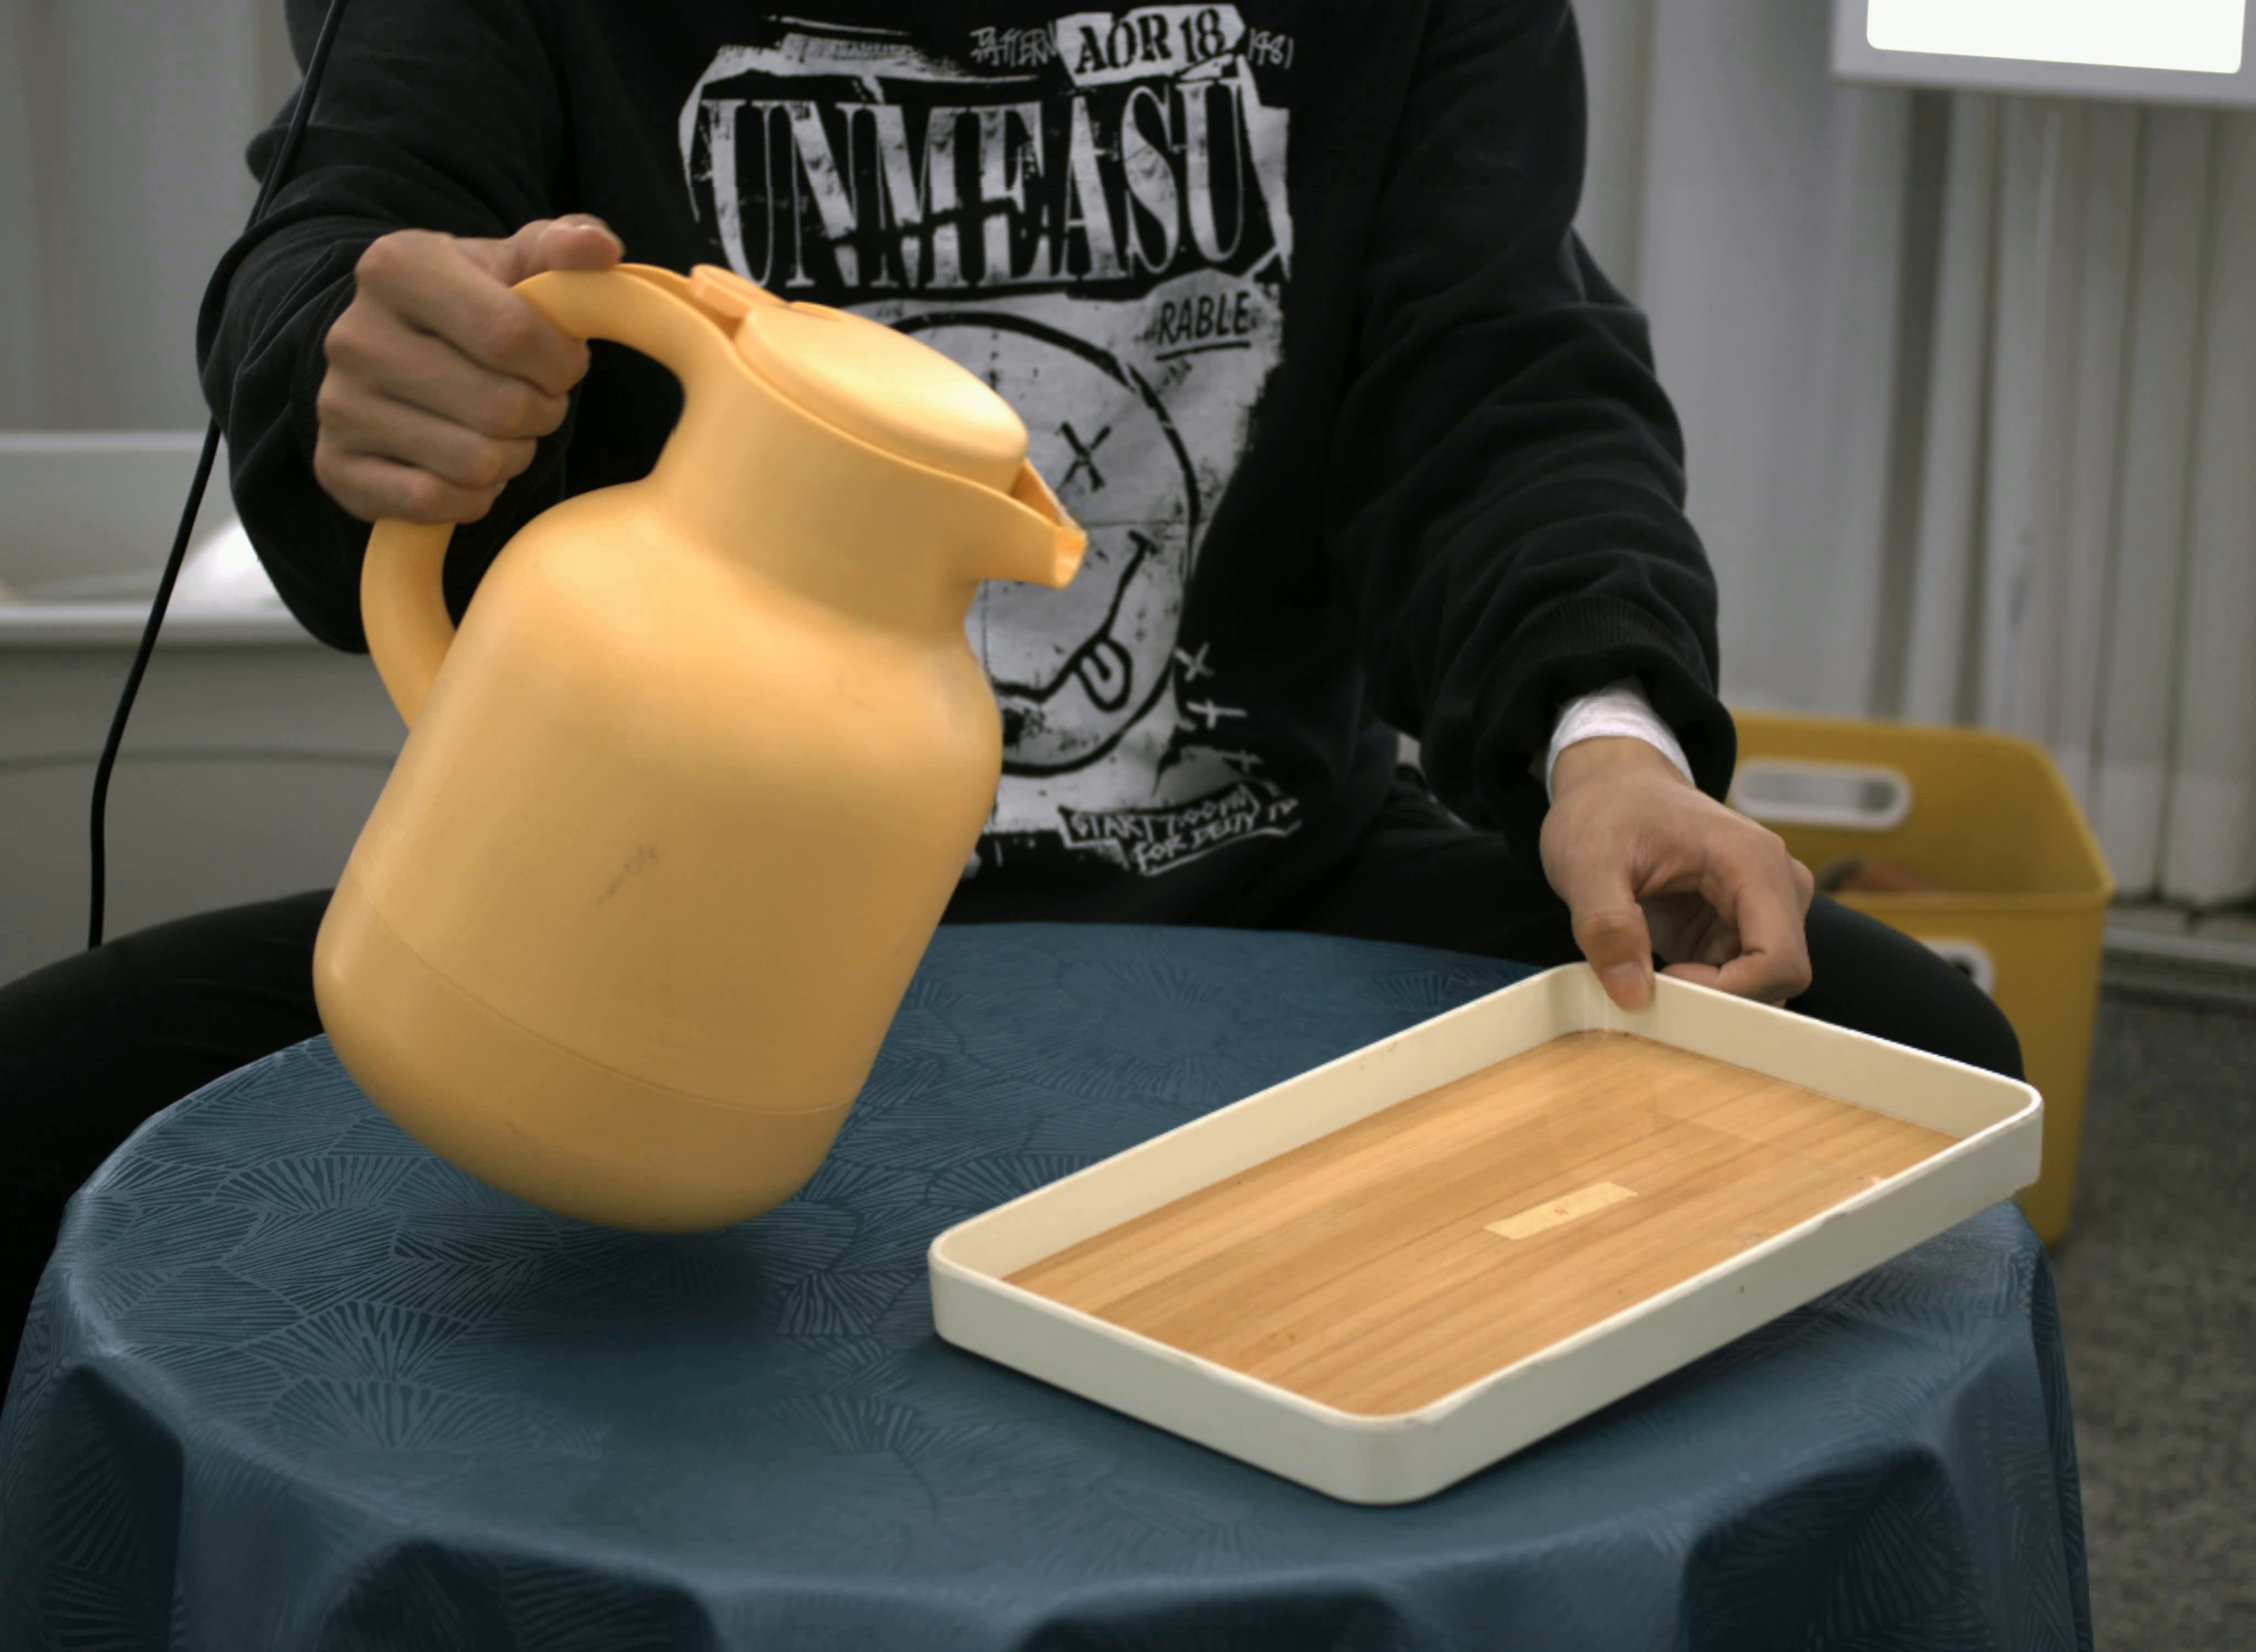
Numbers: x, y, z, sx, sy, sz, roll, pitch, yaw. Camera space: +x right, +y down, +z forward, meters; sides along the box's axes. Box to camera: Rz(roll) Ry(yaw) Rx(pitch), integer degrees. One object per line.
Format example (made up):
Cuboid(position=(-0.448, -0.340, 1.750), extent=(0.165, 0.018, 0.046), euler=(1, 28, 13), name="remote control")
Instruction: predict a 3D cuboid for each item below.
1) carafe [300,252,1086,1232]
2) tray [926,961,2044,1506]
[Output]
Cuboid(position=(-0.136, -0.034, 1.508), extent=(0.200, 0.261, 0.164), euler=(33, 16, 17), name="carafe")
Cuboid(position=(0.107, 0.112, 1.531), extent=(0.301, 0.027, 0.189), euler=(-20, 26, -41), name="tray")
